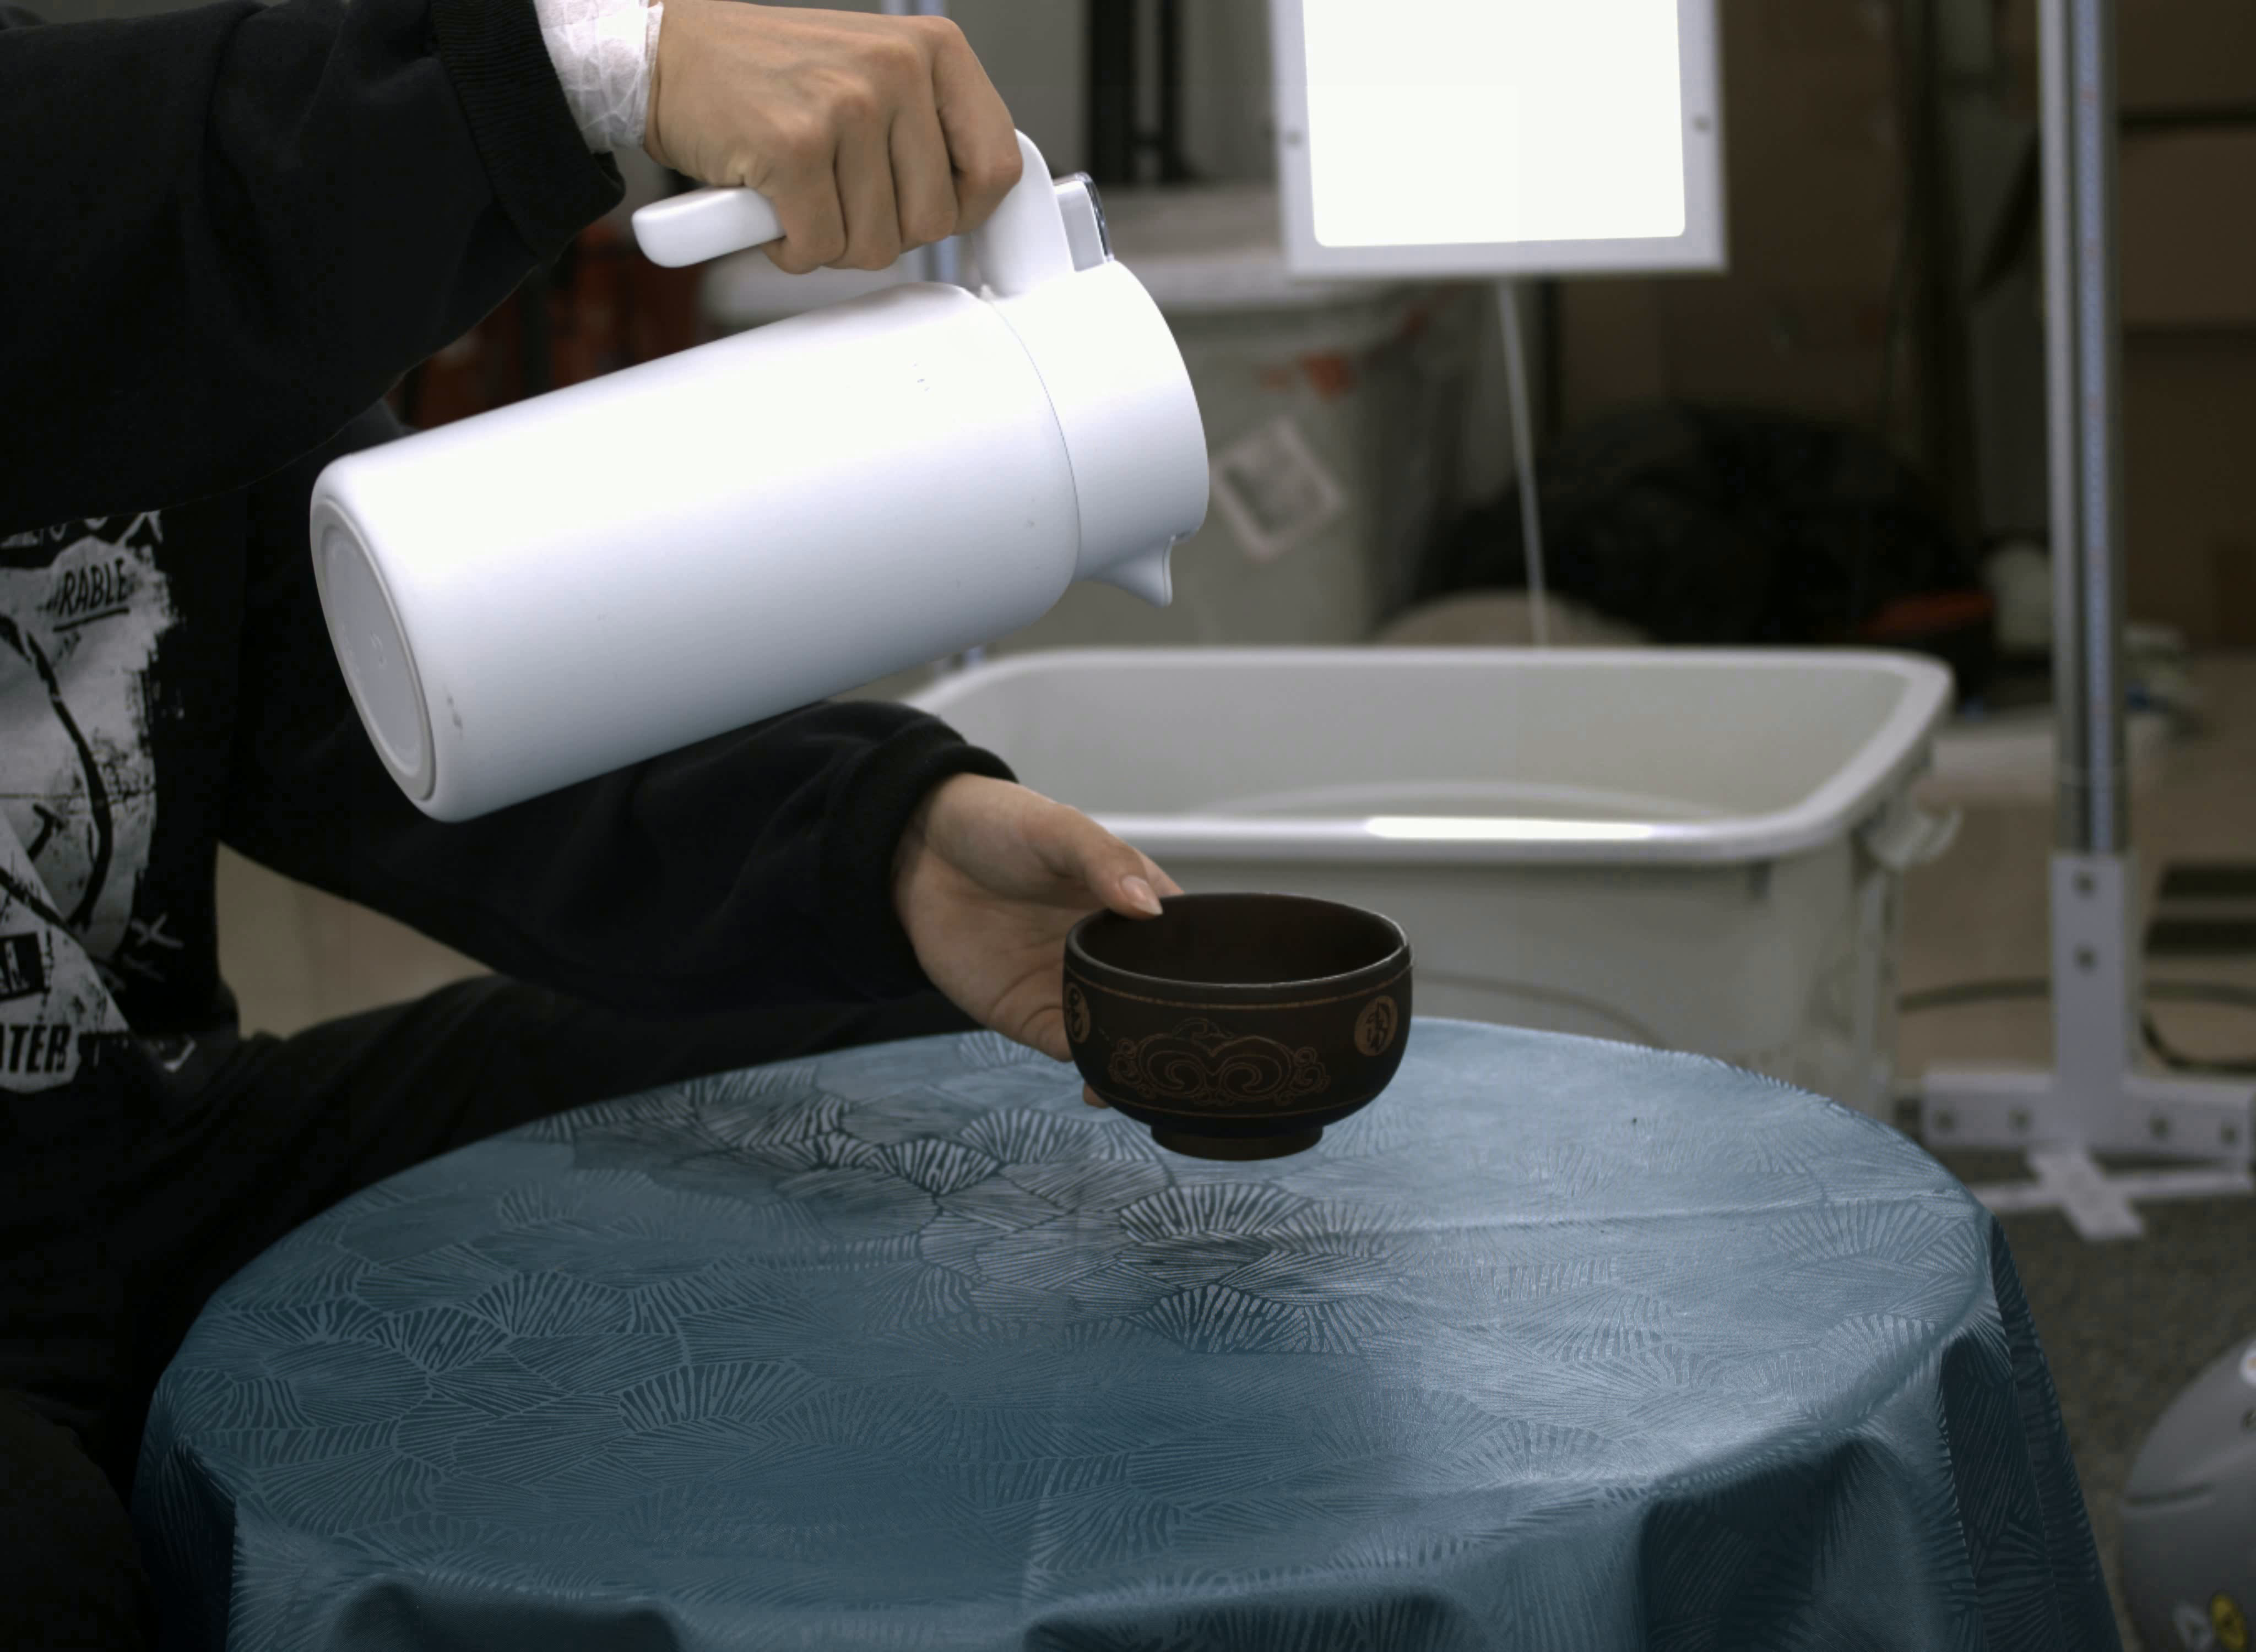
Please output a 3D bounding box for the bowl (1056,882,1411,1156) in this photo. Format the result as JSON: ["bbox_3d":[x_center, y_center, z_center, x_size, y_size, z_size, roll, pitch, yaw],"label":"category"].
[{"bbox_3d":[0.035,0.067,1.811,0.117,0.070,0.118,-2,15,-1],"label":"bowl"}]

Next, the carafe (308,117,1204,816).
[{"bbox_3d":[-0.118,-0.112,1.715,0.265,0.173,0.125,-18,16,-16],"label":"carafe"}]
